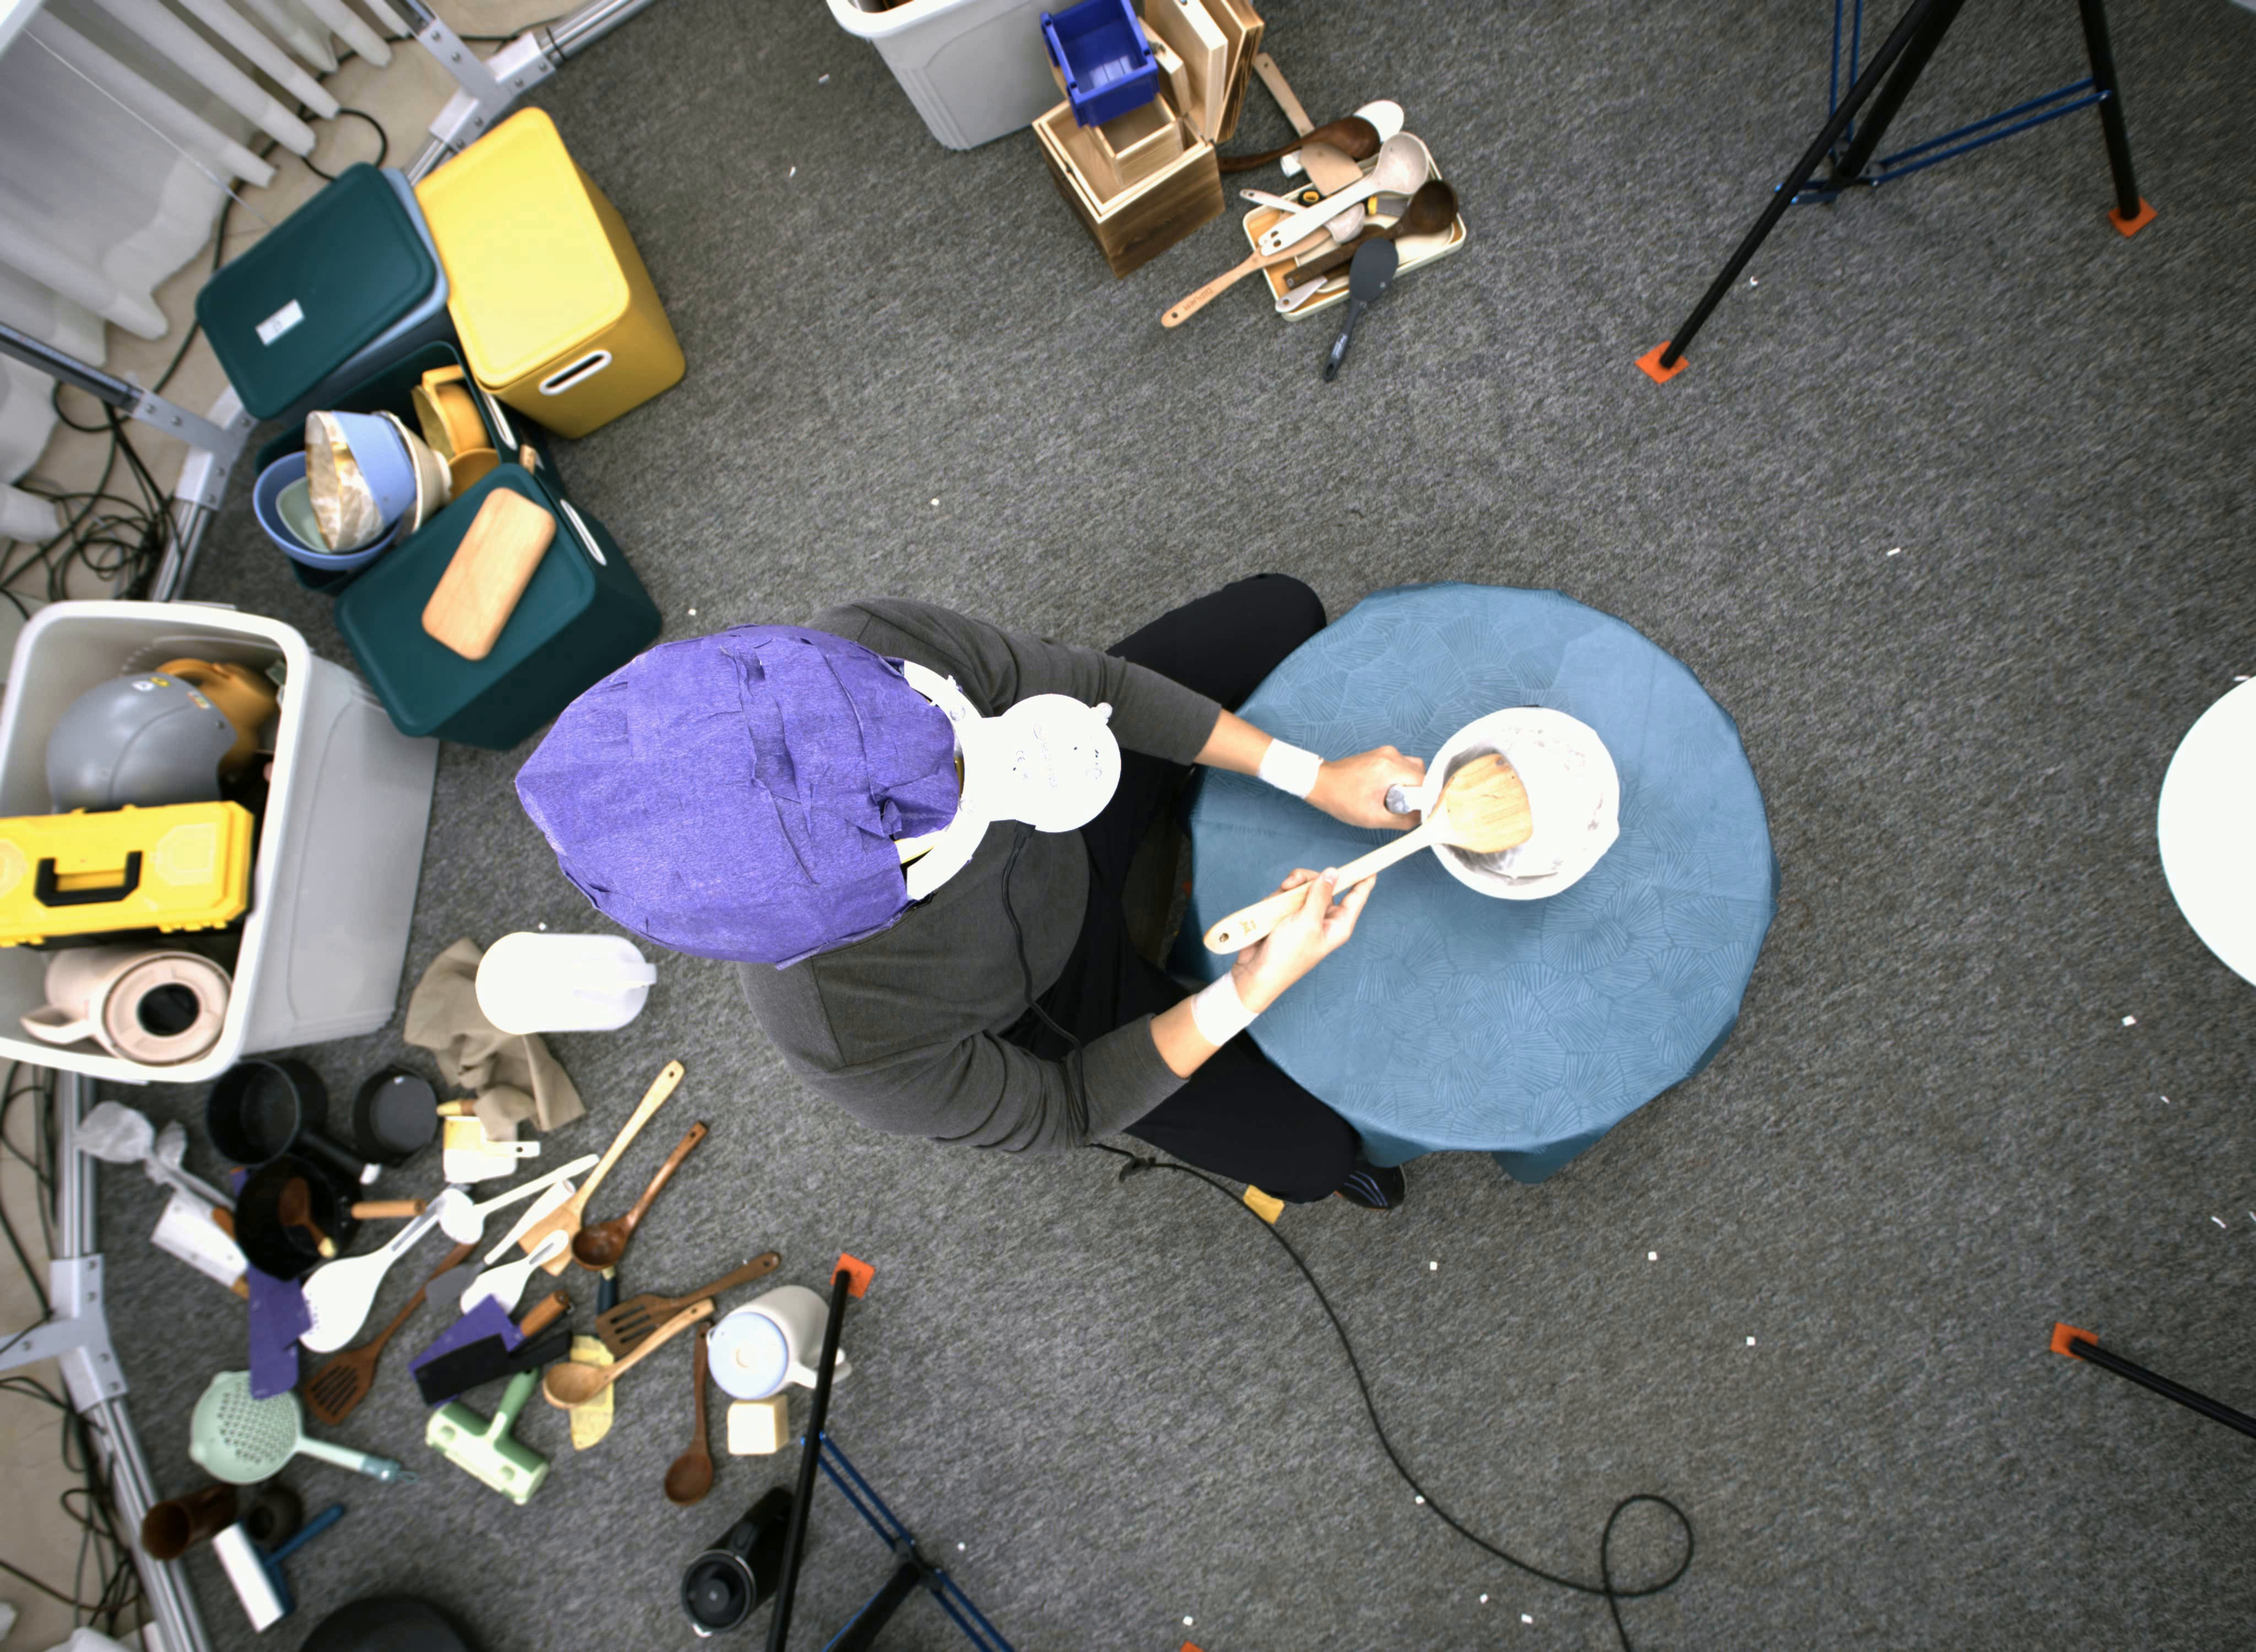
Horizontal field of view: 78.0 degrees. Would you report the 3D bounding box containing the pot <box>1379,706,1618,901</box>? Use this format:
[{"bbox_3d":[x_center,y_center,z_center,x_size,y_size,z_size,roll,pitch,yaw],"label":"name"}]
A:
[{"bbox_3d":[0.358,-0.028,1.346,0.235,0.135,0.180,2,99,22],"label":"pot"}]

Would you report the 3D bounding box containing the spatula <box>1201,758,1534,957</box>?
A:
[{"bbox_3d":[0.228,0.038,1.272,0.386,0.018,0.096,-24,93,-25],"label":"spatula"}]
